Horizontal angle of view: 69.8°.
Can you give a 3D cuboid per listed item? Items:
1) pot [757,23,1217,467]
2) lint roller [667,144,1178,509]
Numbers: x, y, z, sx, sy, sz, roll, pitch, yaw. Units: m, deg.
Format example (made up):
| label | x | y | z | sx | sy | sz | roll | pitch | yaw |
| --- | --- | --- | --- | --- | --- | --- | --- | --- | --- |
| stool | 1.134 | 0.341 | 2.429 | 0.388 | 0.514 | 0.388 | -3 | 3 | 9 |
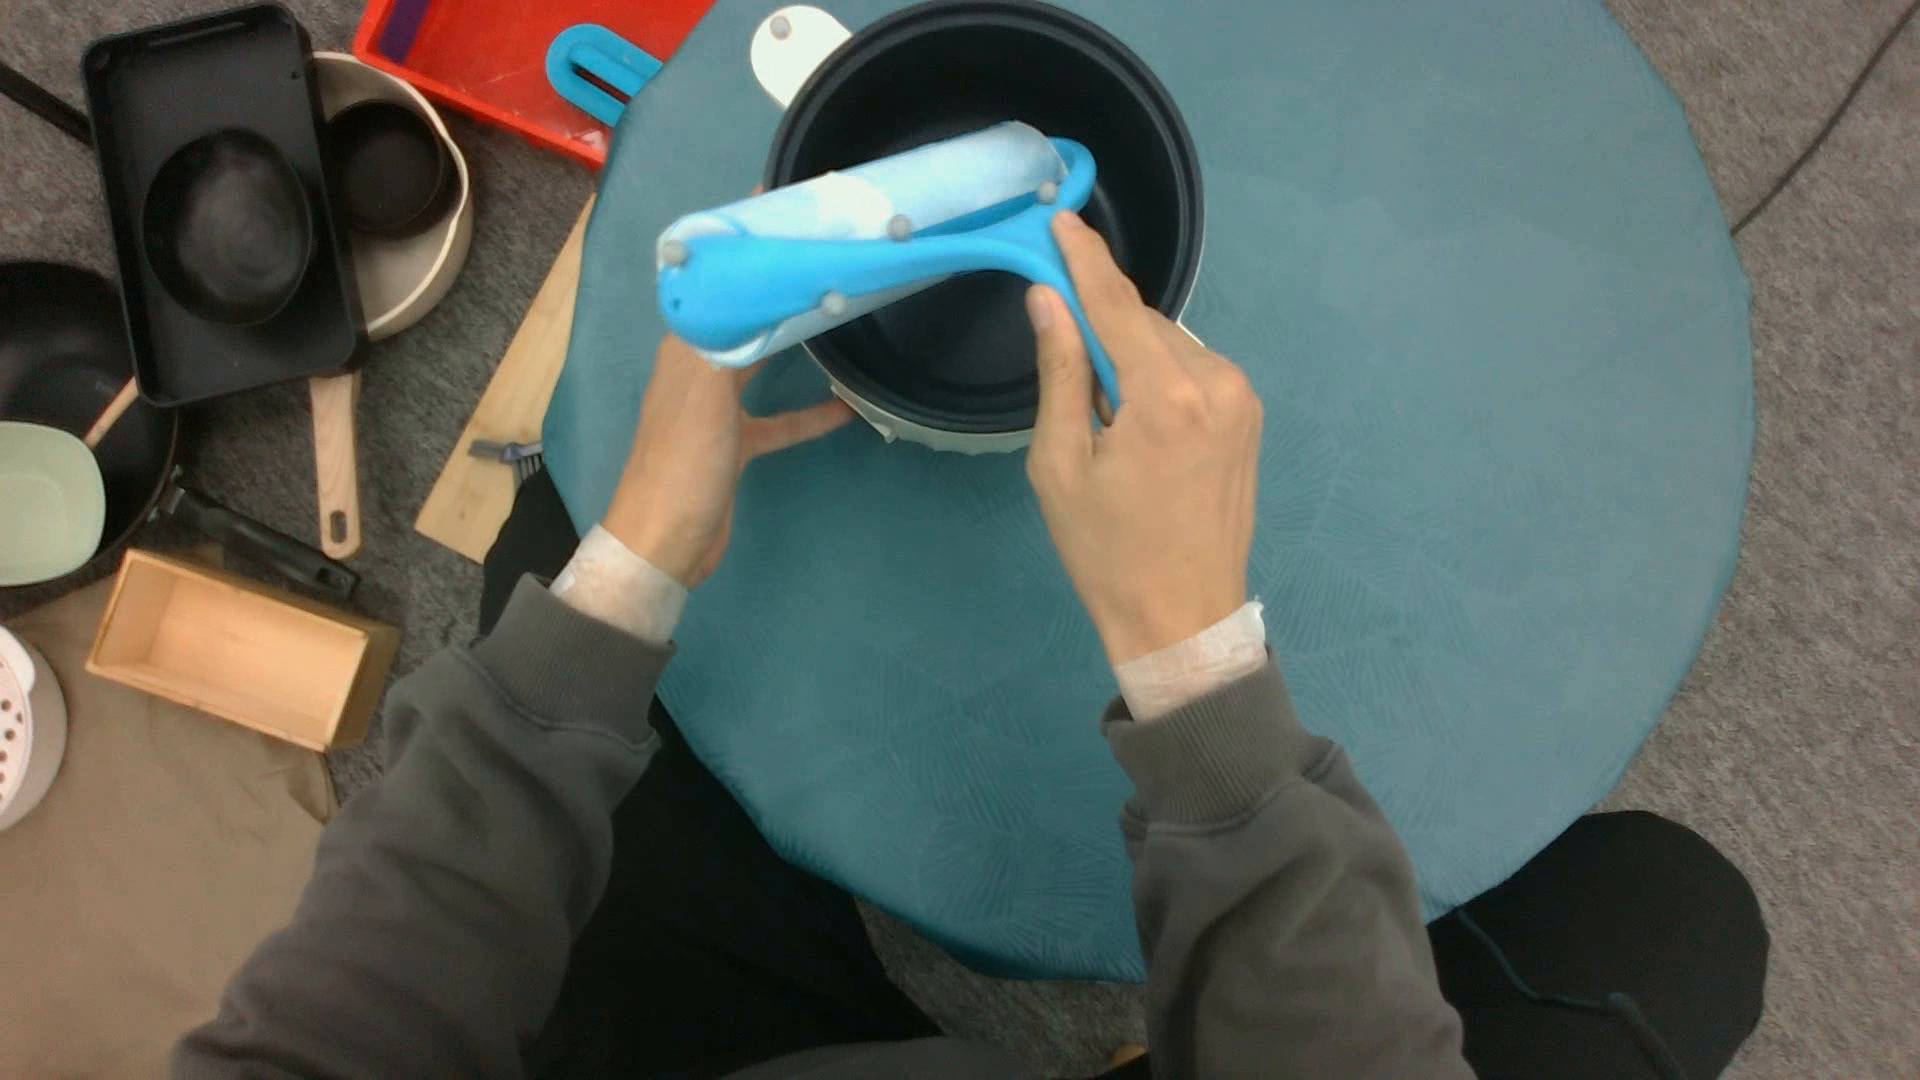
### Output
| label | x | y | z | sx | sy | sz | roll | pitch | yaw |
| --- | --- | --- | --- | --- | --- | --- | --- | --- | --- |
| pot | 0.014 | -0.129 | 0.641 | 0.240 | 0.142 | 0.190 | 40 | 90 | 1 |
| lint roller | 0.019 | -0.086 | 0.540 | 0.180 | 0.230 | 0.067 | 33 | 129 | 17 |
